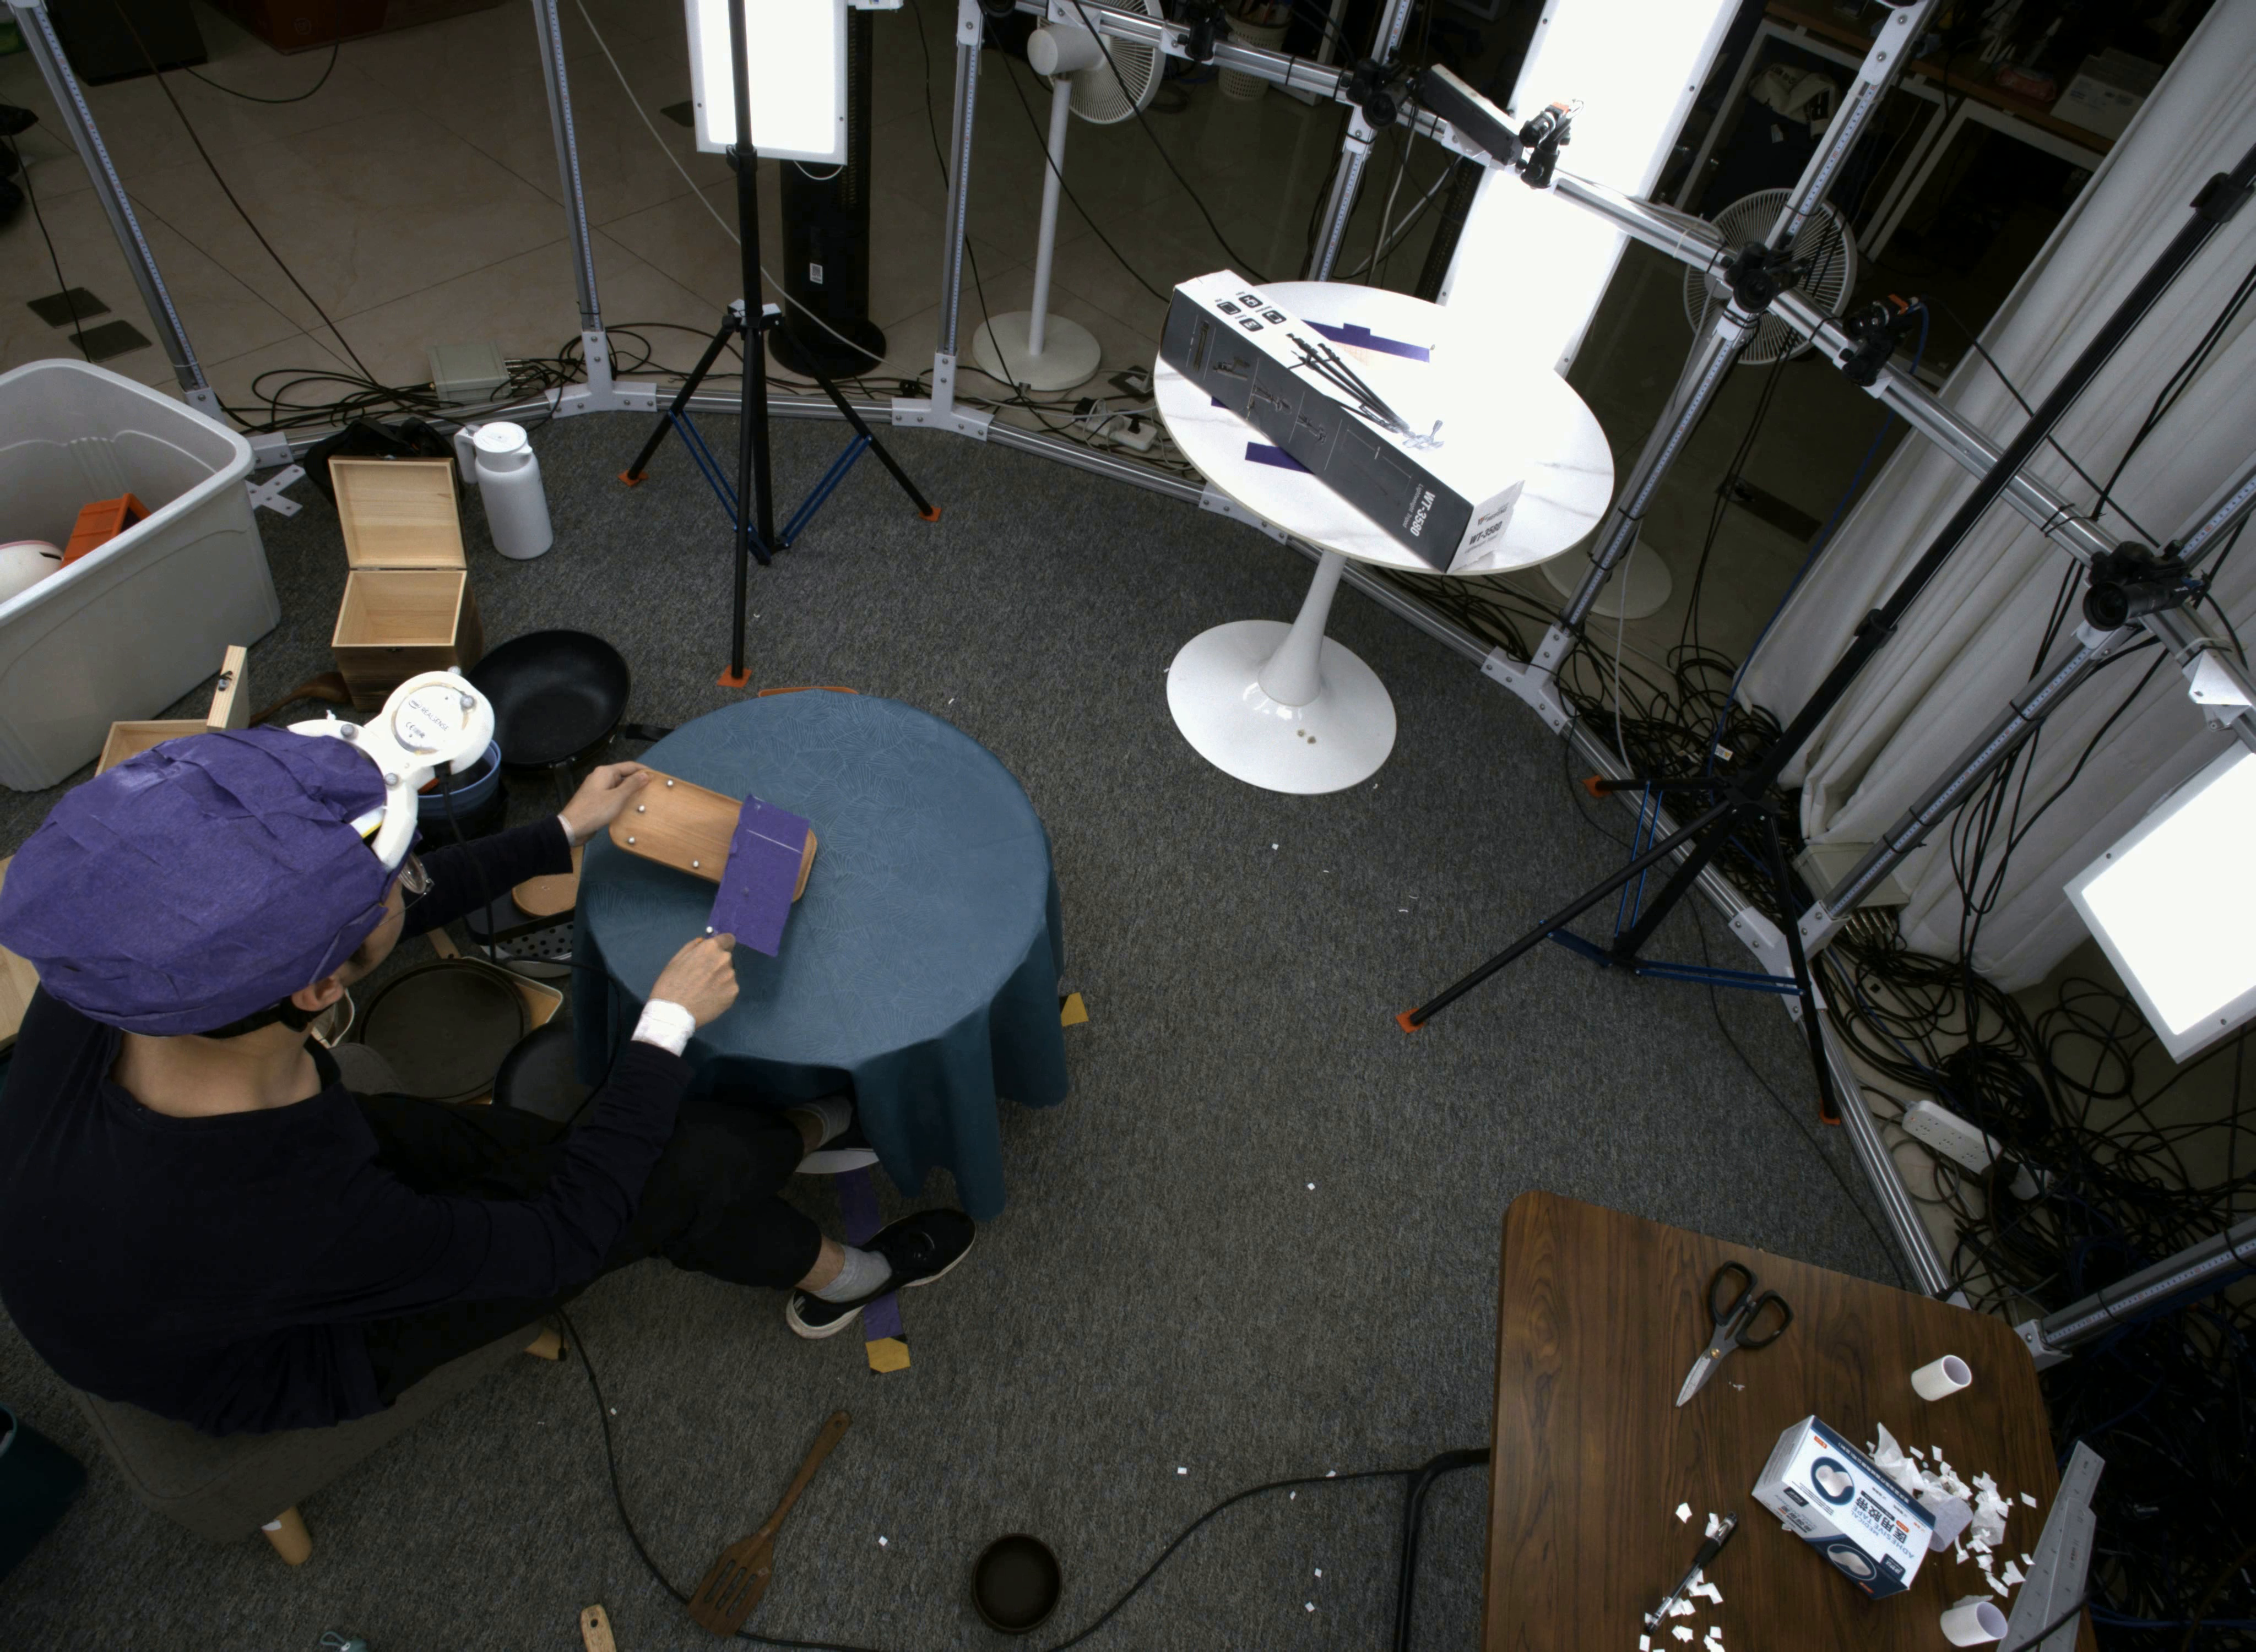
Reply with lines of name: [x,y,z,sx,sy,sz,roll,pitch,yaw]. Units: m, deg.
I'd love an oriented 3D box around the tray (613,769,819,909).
tray: [-0.523,0.016,1.643,0.254,0.023,0.129,25,51,-19]

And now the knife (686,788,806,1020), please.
knife: [-0.447,0.093,1.543,0.106,0.032,0.310,24,50,-26]
